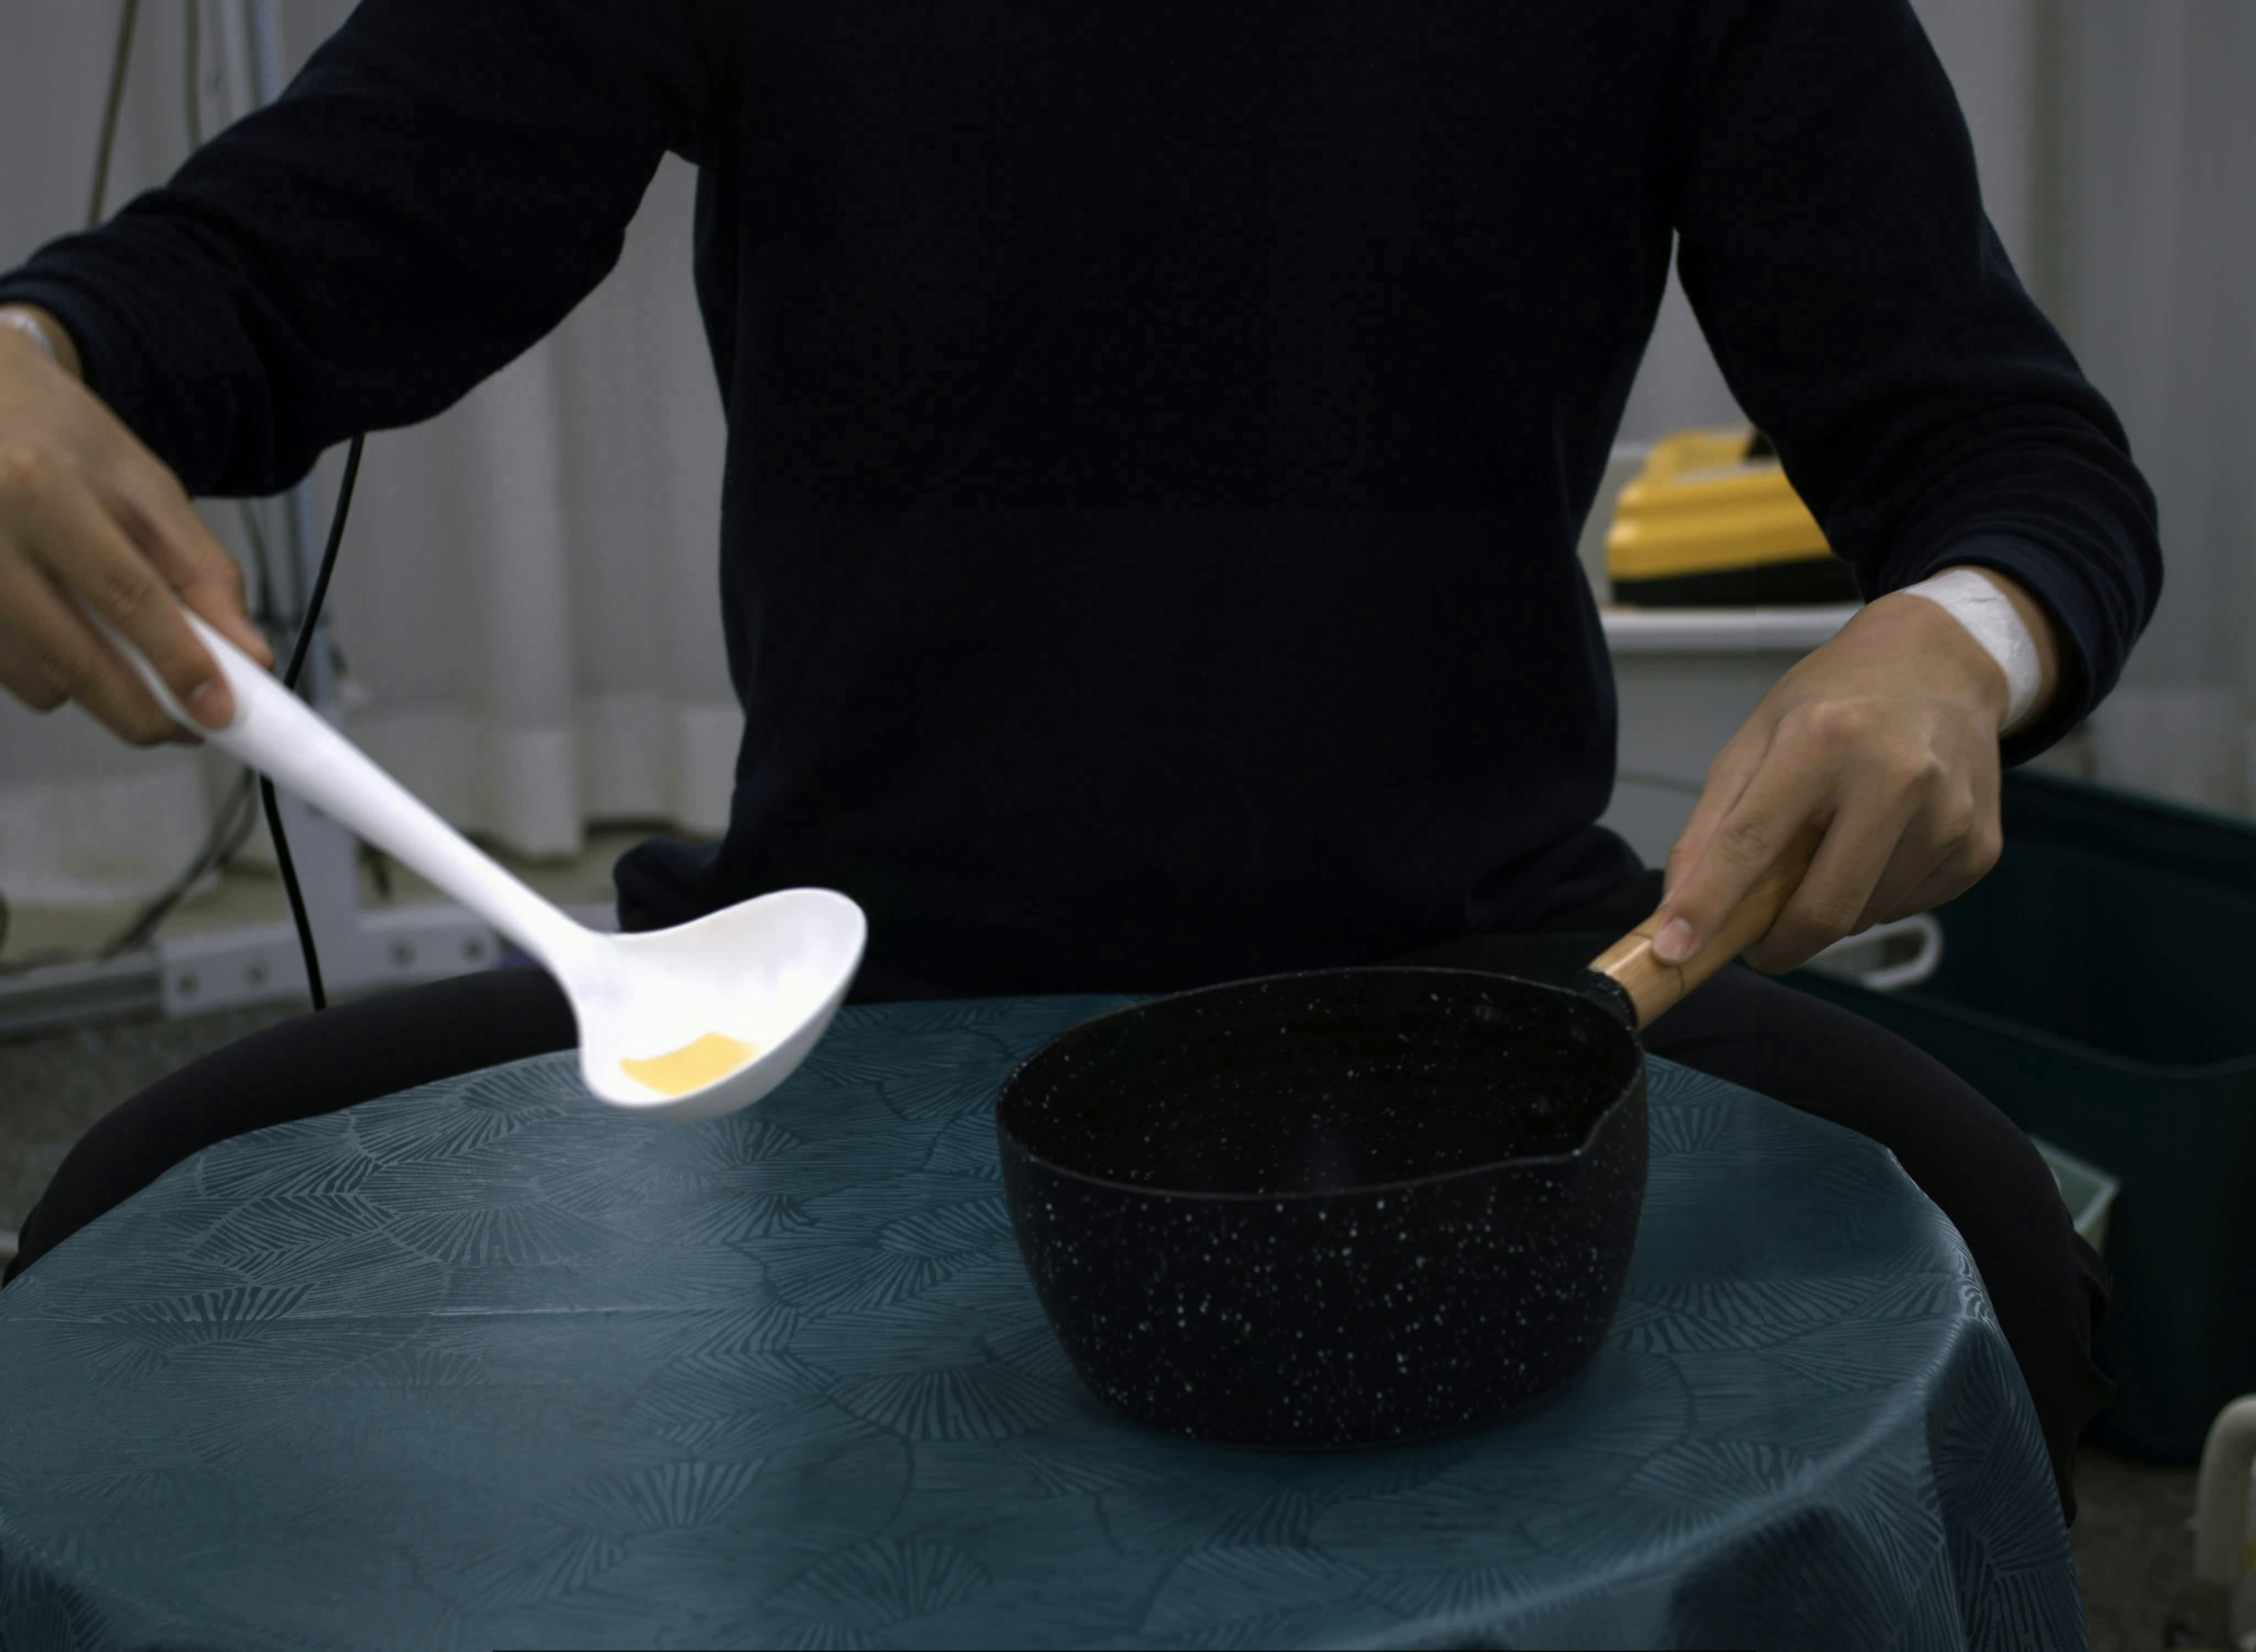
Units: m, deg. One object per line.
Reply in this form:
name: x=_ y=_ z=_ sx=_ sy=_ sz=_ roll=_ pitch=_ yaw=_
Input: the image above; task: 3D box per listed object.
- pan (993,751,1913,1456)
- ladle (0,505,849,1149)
pan: x=0.114 y=0.076 z=1.595 sx=0.342 sy=0.107 sz=0.208 roll=-22 pitch=23 yaw=-39
ladle: x=-0.204 y=-0.007 z=1.522 sx=0.294 sy=0.069 sz=0.090 roll=35 pitch=67 yaw=16
